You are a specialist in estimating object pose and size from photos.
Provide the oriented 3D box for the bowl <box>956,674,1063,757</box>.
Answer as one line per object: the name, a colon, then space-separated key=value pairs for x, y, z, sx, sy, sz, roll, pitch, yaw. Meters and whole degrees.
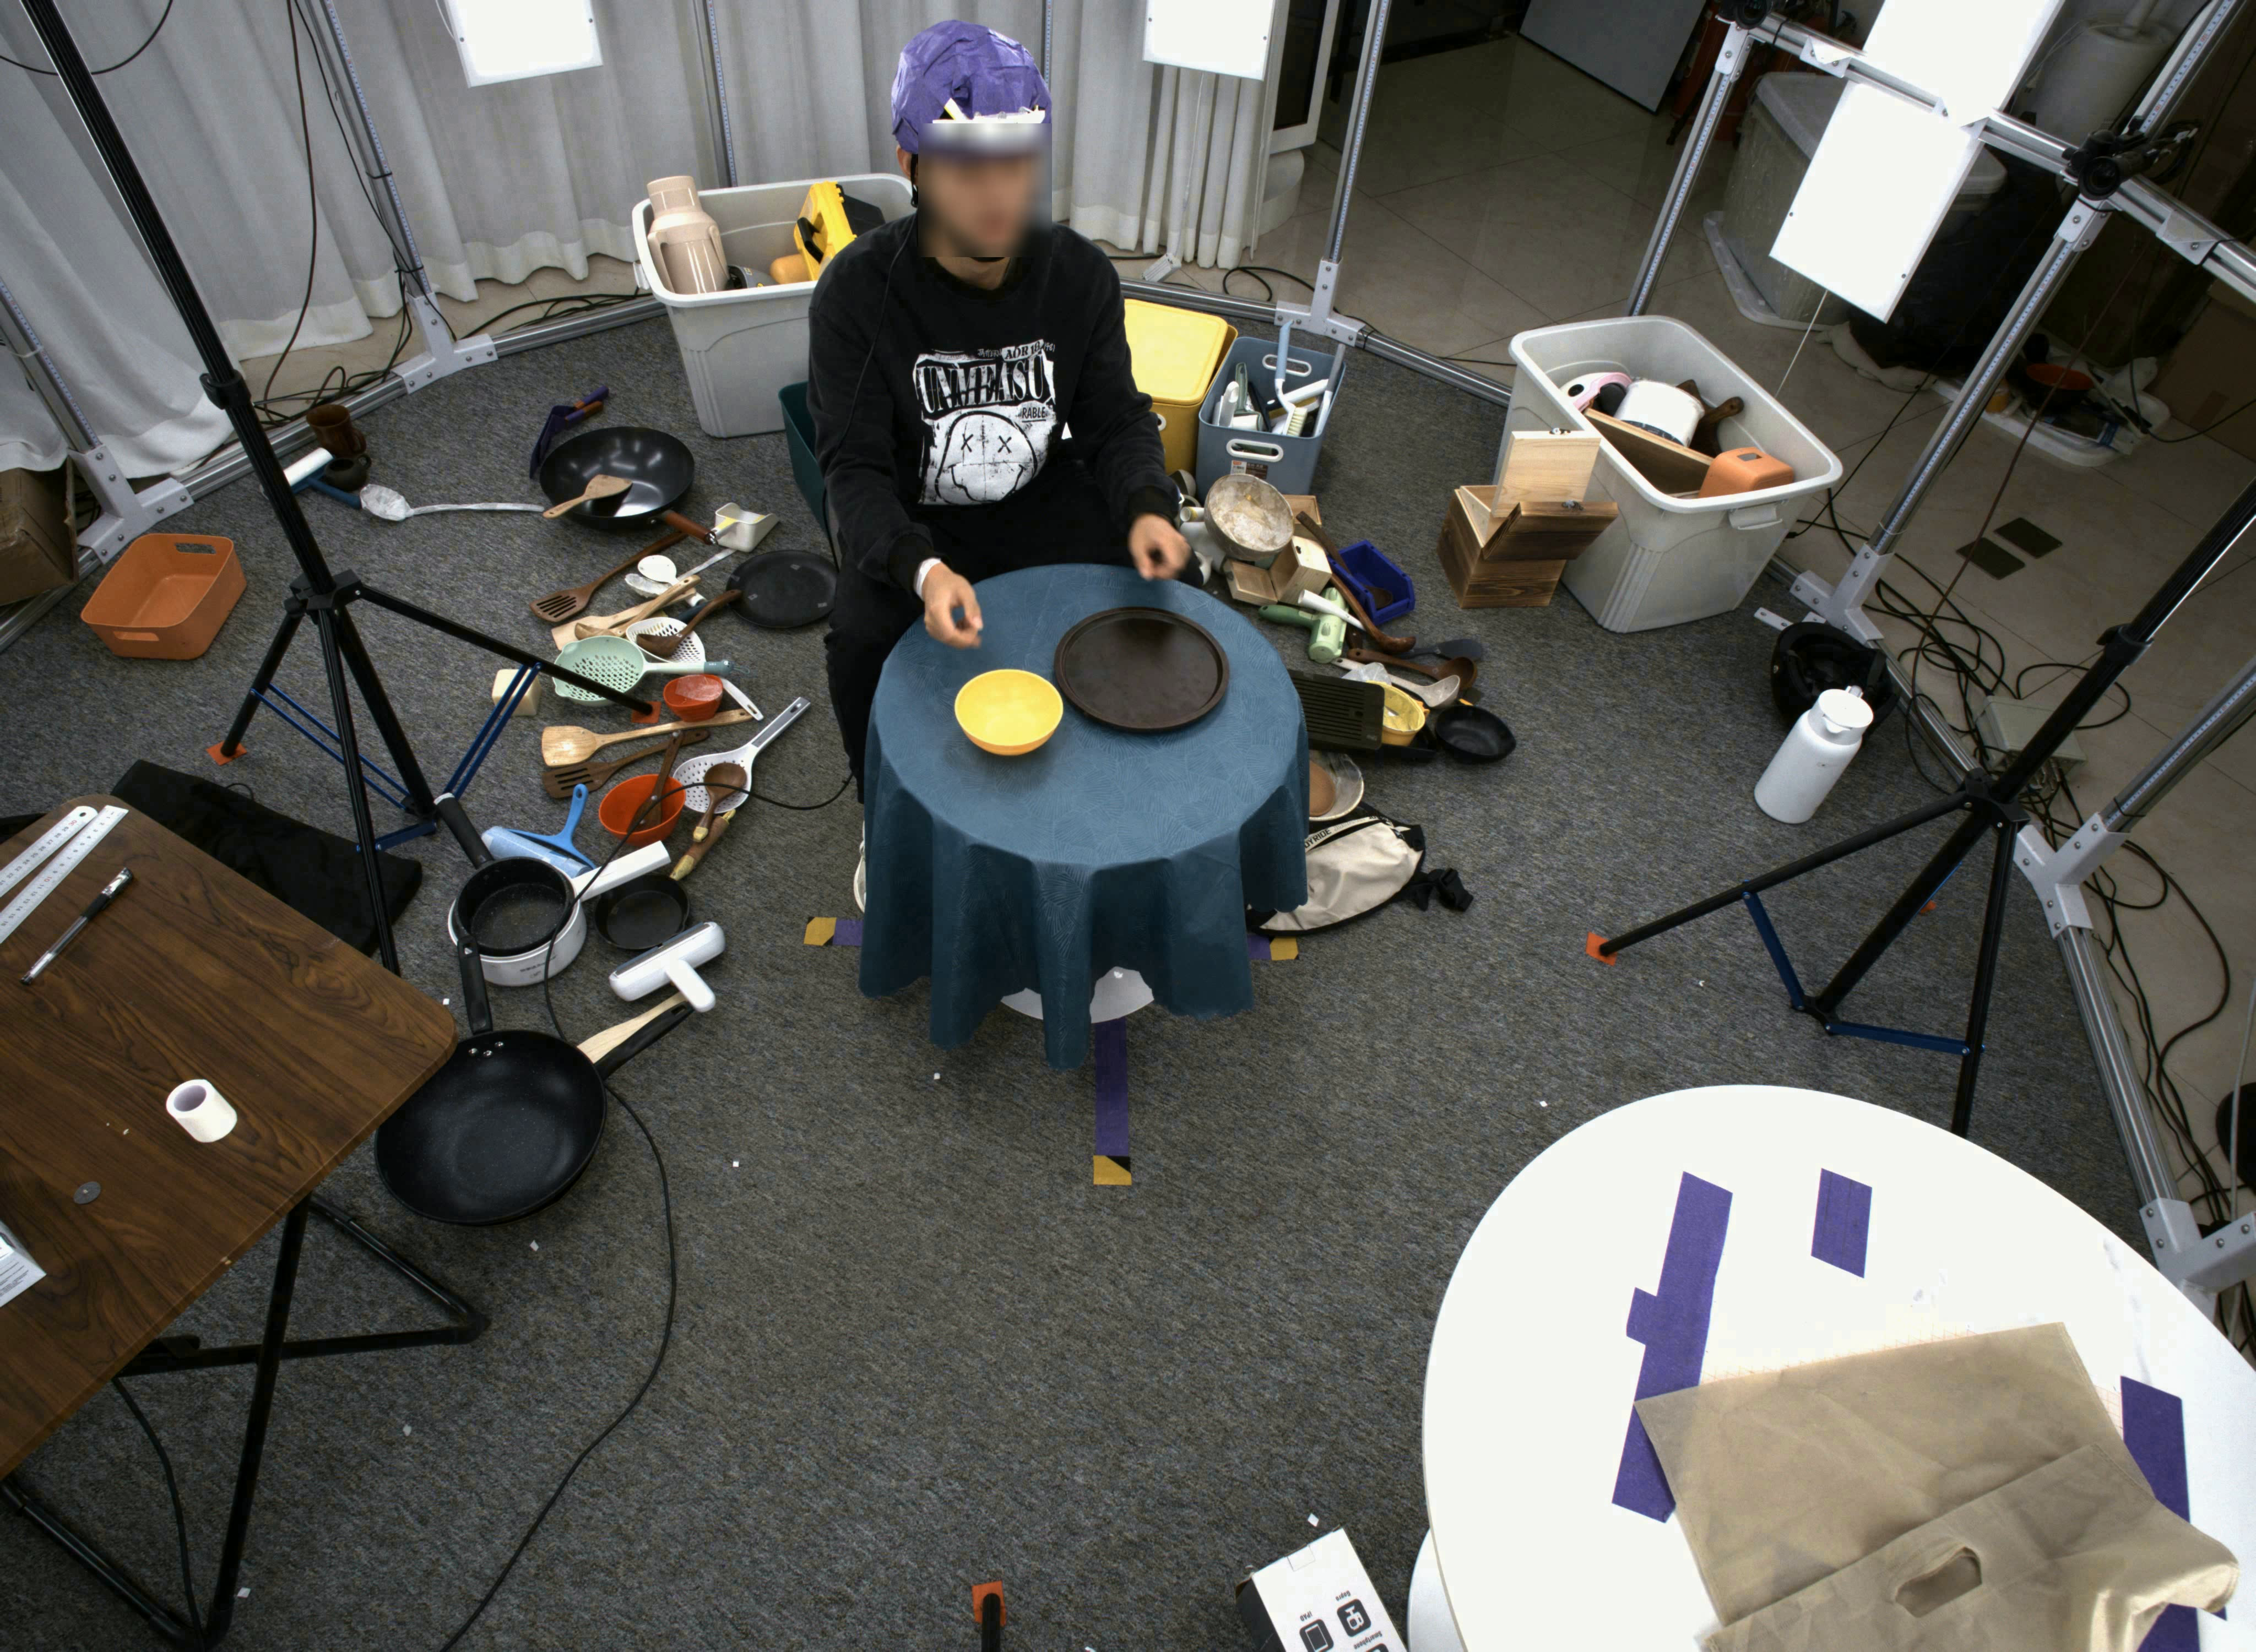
bowl: x=-0.162 y=-0.140 z=1.759 sx=0.145 sy=0.058 sz=0.149 roll=2 pitch=46 yaw=-3

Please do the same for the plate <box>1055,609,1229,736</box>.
plate: x=0.021 y=-0.225 z=1.867 sx=0.254 sy=0.028 sz=0.261 roll=1 pitch=49 yaw=-1
